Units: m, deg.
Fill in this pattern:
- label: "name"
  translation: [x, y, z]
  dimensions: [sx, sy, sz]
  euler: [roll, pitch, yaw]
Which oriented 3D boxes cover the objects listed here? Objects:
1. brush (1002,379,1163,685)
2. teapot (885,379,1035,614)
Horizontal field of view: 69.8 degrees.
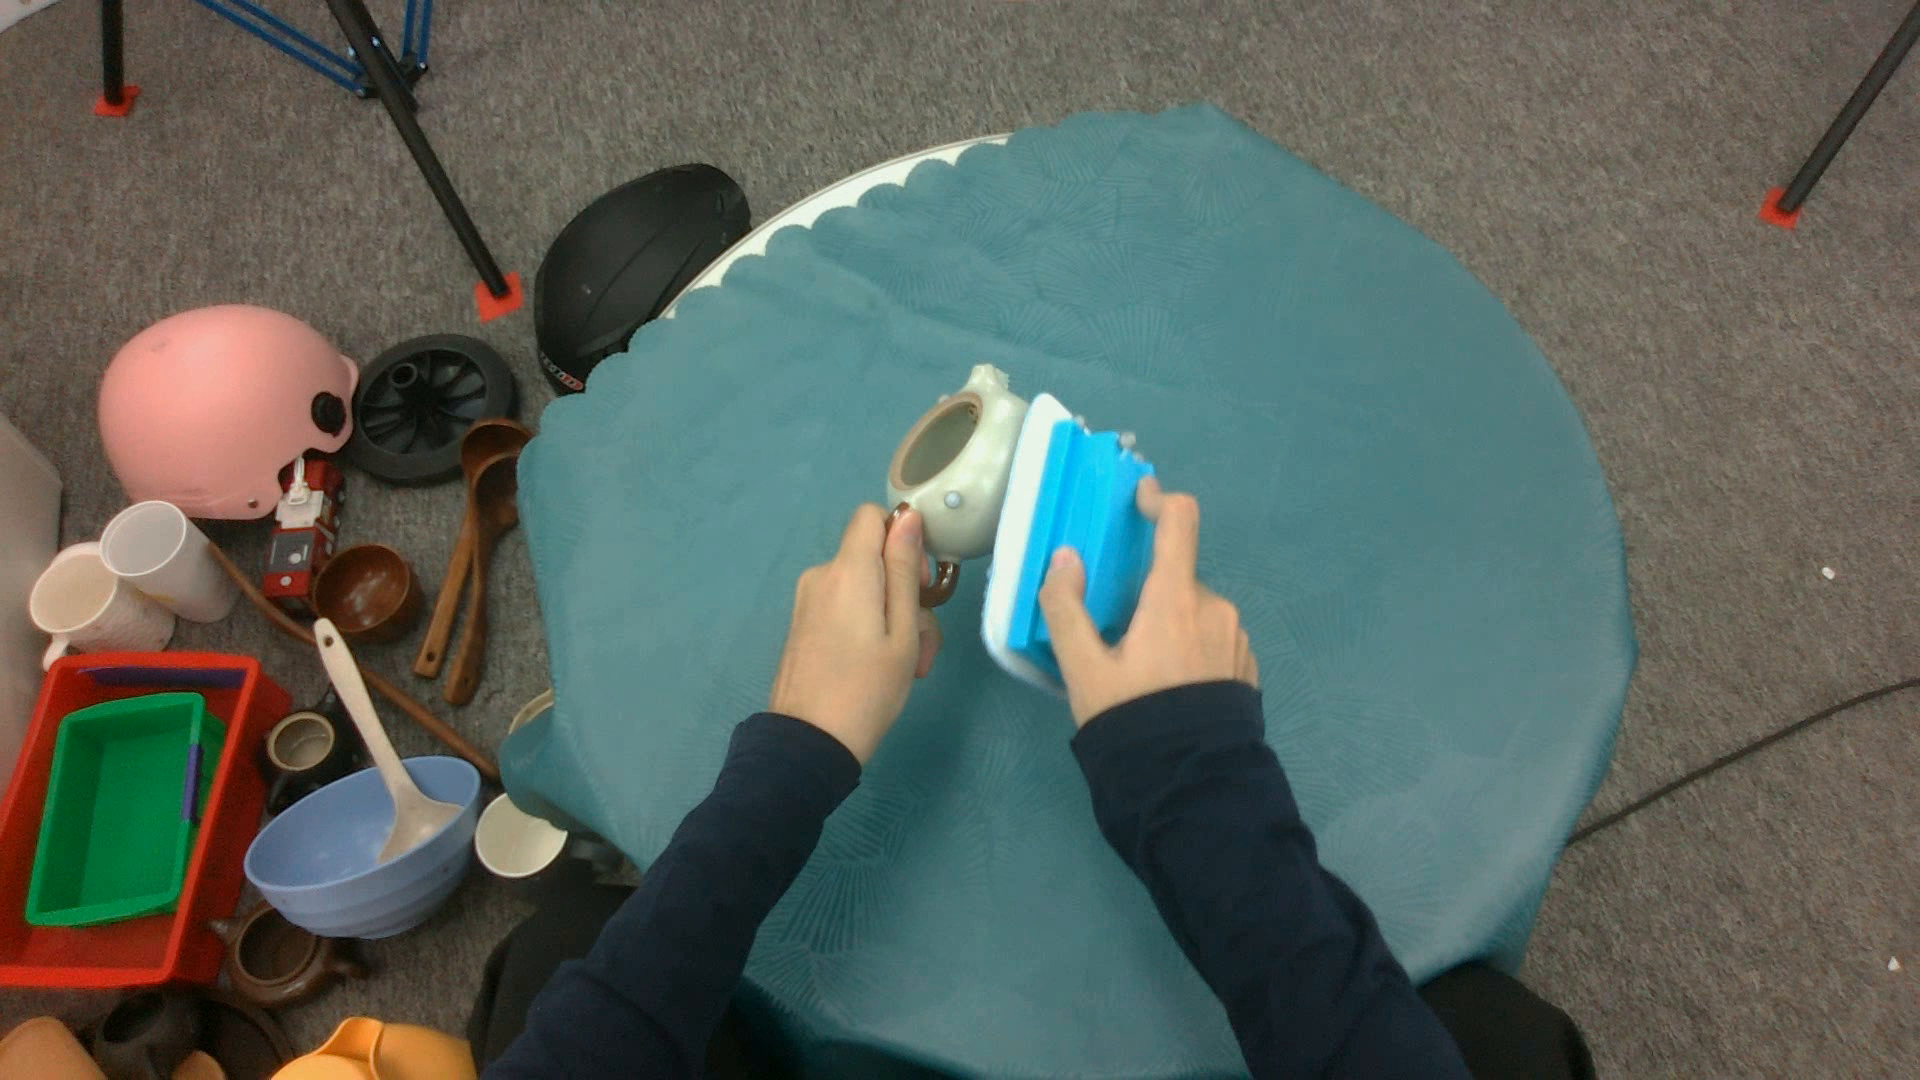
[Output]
- label: "brush"
  translation: [0.067, -0.009, 0.647]
  dimensions: [0.055, 0.084, 0.144]
  euler: [-21, 53, 42]
- label: "teapot"
  translation: [0.003, -0.020, 0.694]
  dimensions: [0.091, 0.059, 0.128]
  euler: [-4, 47, 47]
